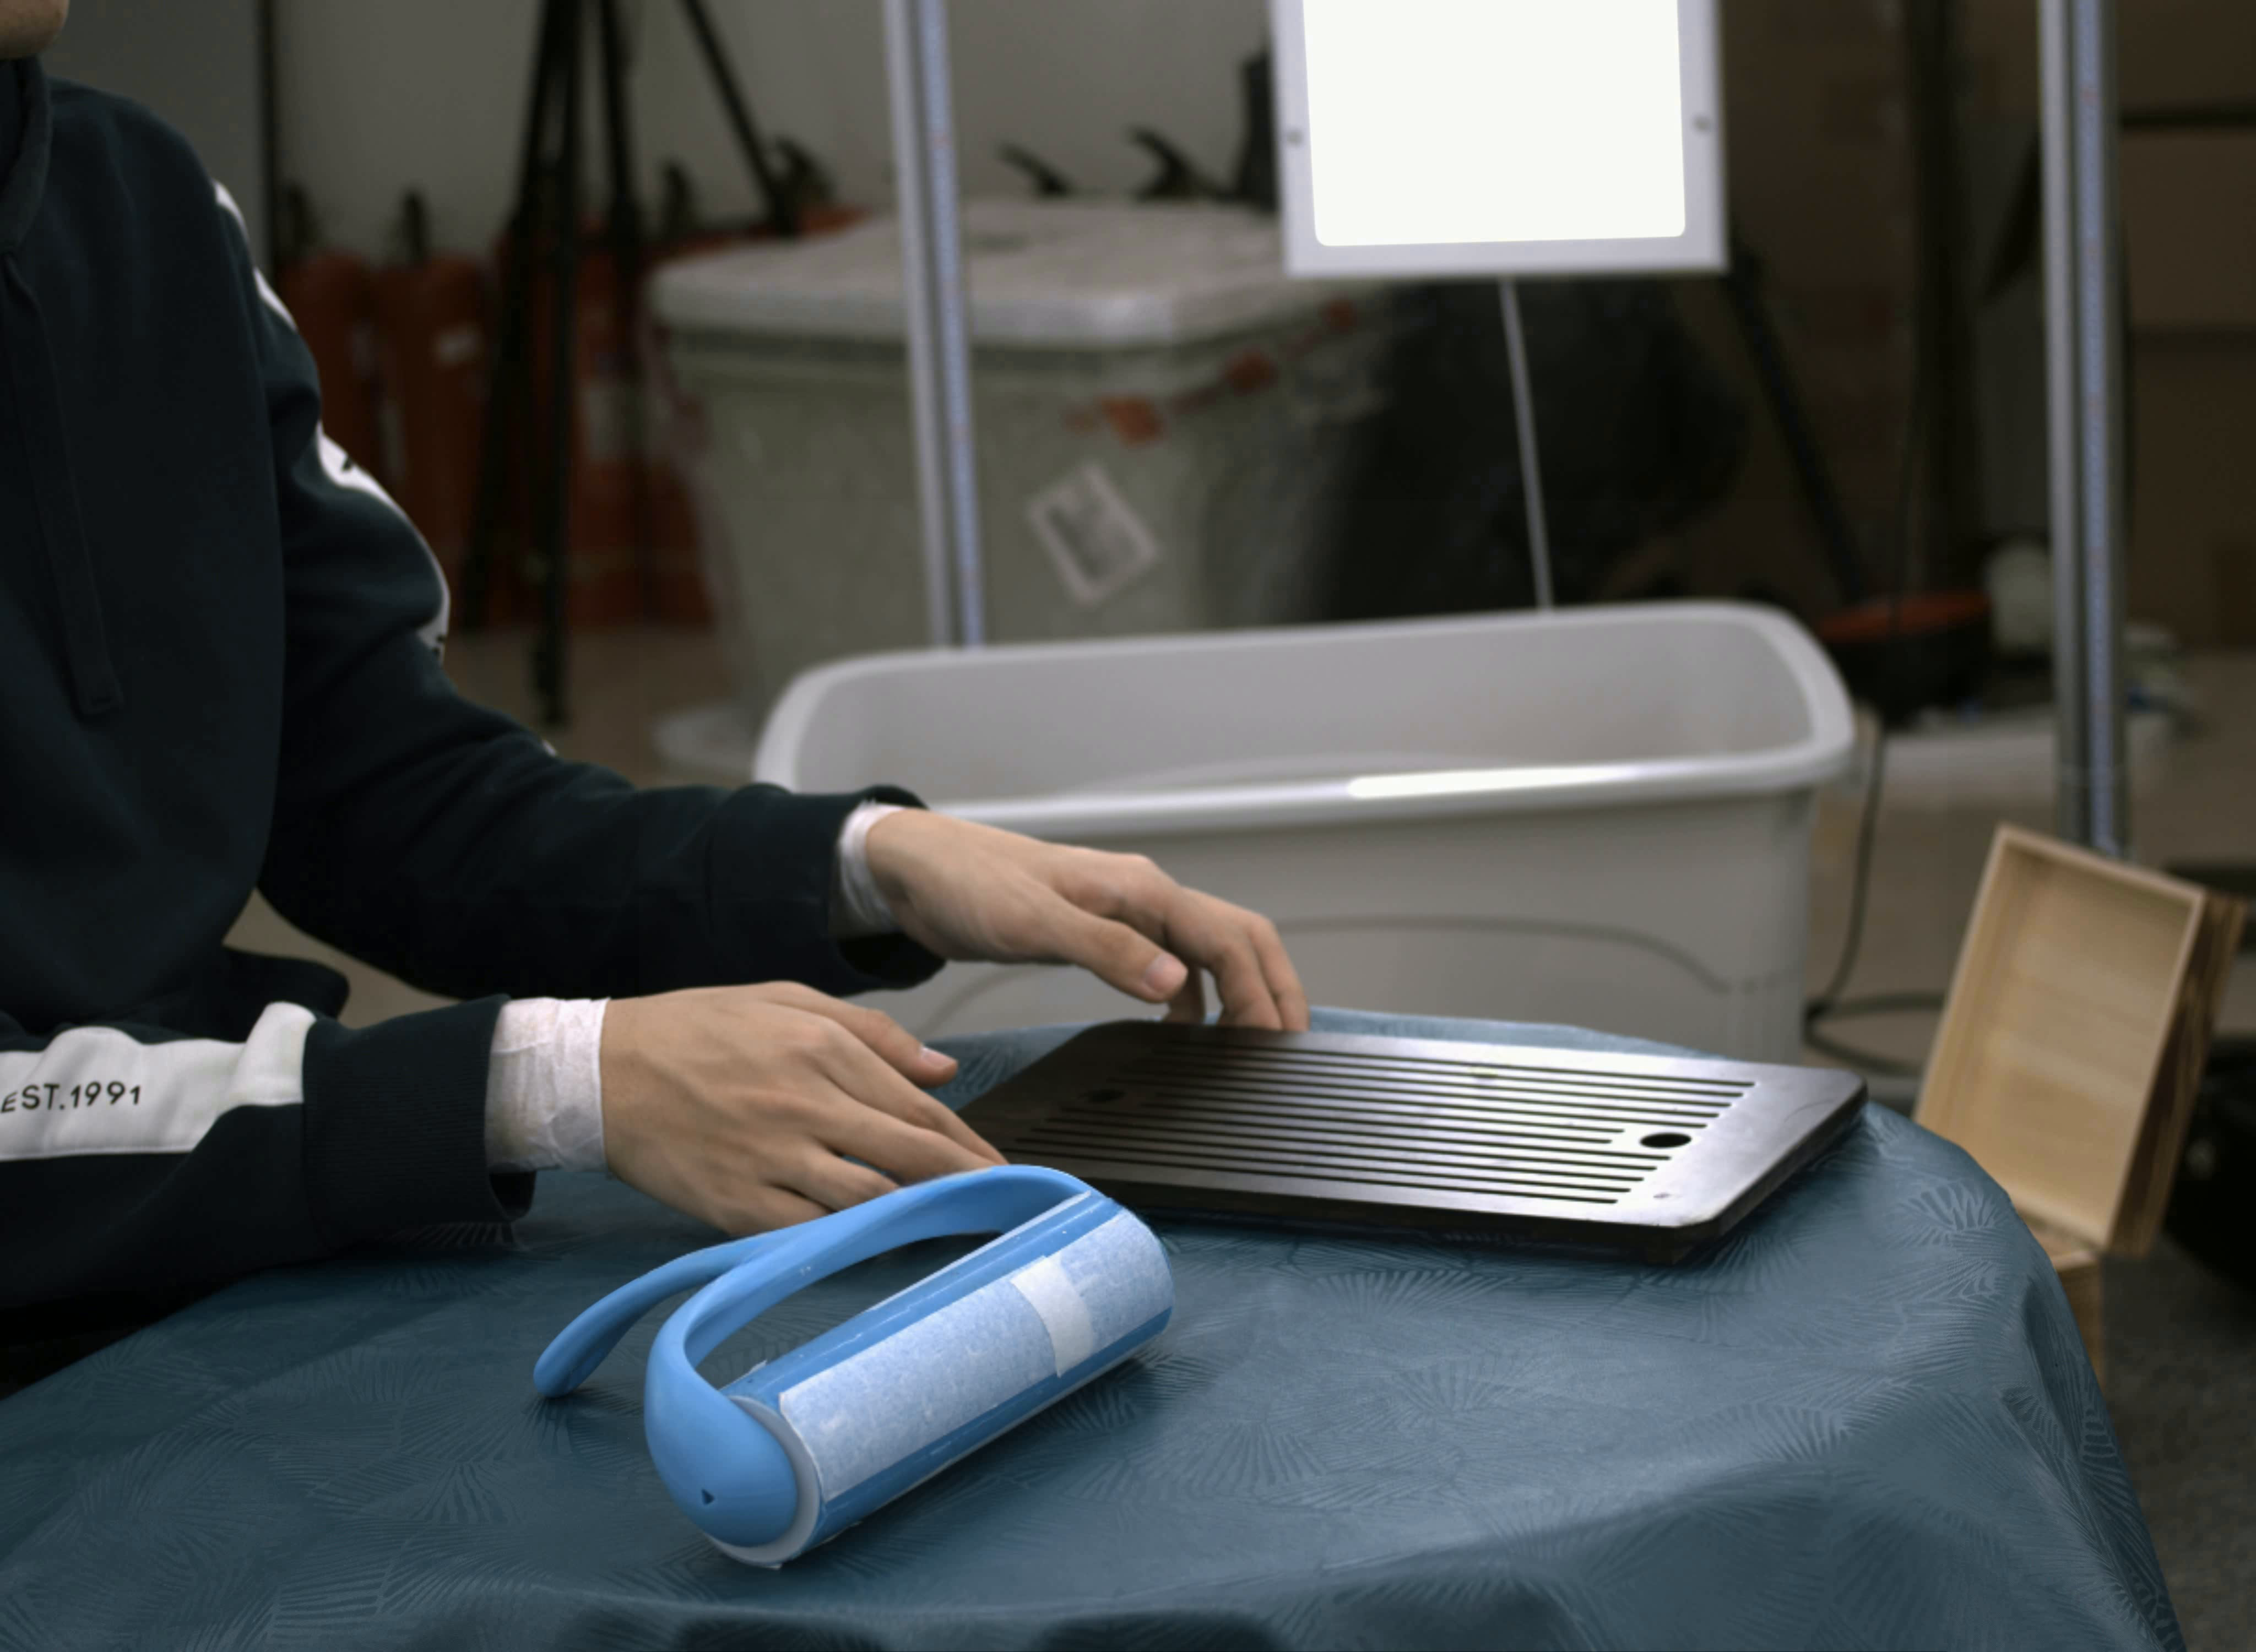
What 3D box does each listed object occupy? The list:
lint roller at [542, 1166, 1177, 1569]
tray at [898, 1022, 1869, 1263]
[{"bbox_3d":[-0.108,0.158,1.683,0.183,0.068,0.224,5,19,31],"label":"lint roller"},{"bbox_3d":[0.089,0.107,1.901,0.311,0.019,0.166,2,16,29],"label":"tray"}]
